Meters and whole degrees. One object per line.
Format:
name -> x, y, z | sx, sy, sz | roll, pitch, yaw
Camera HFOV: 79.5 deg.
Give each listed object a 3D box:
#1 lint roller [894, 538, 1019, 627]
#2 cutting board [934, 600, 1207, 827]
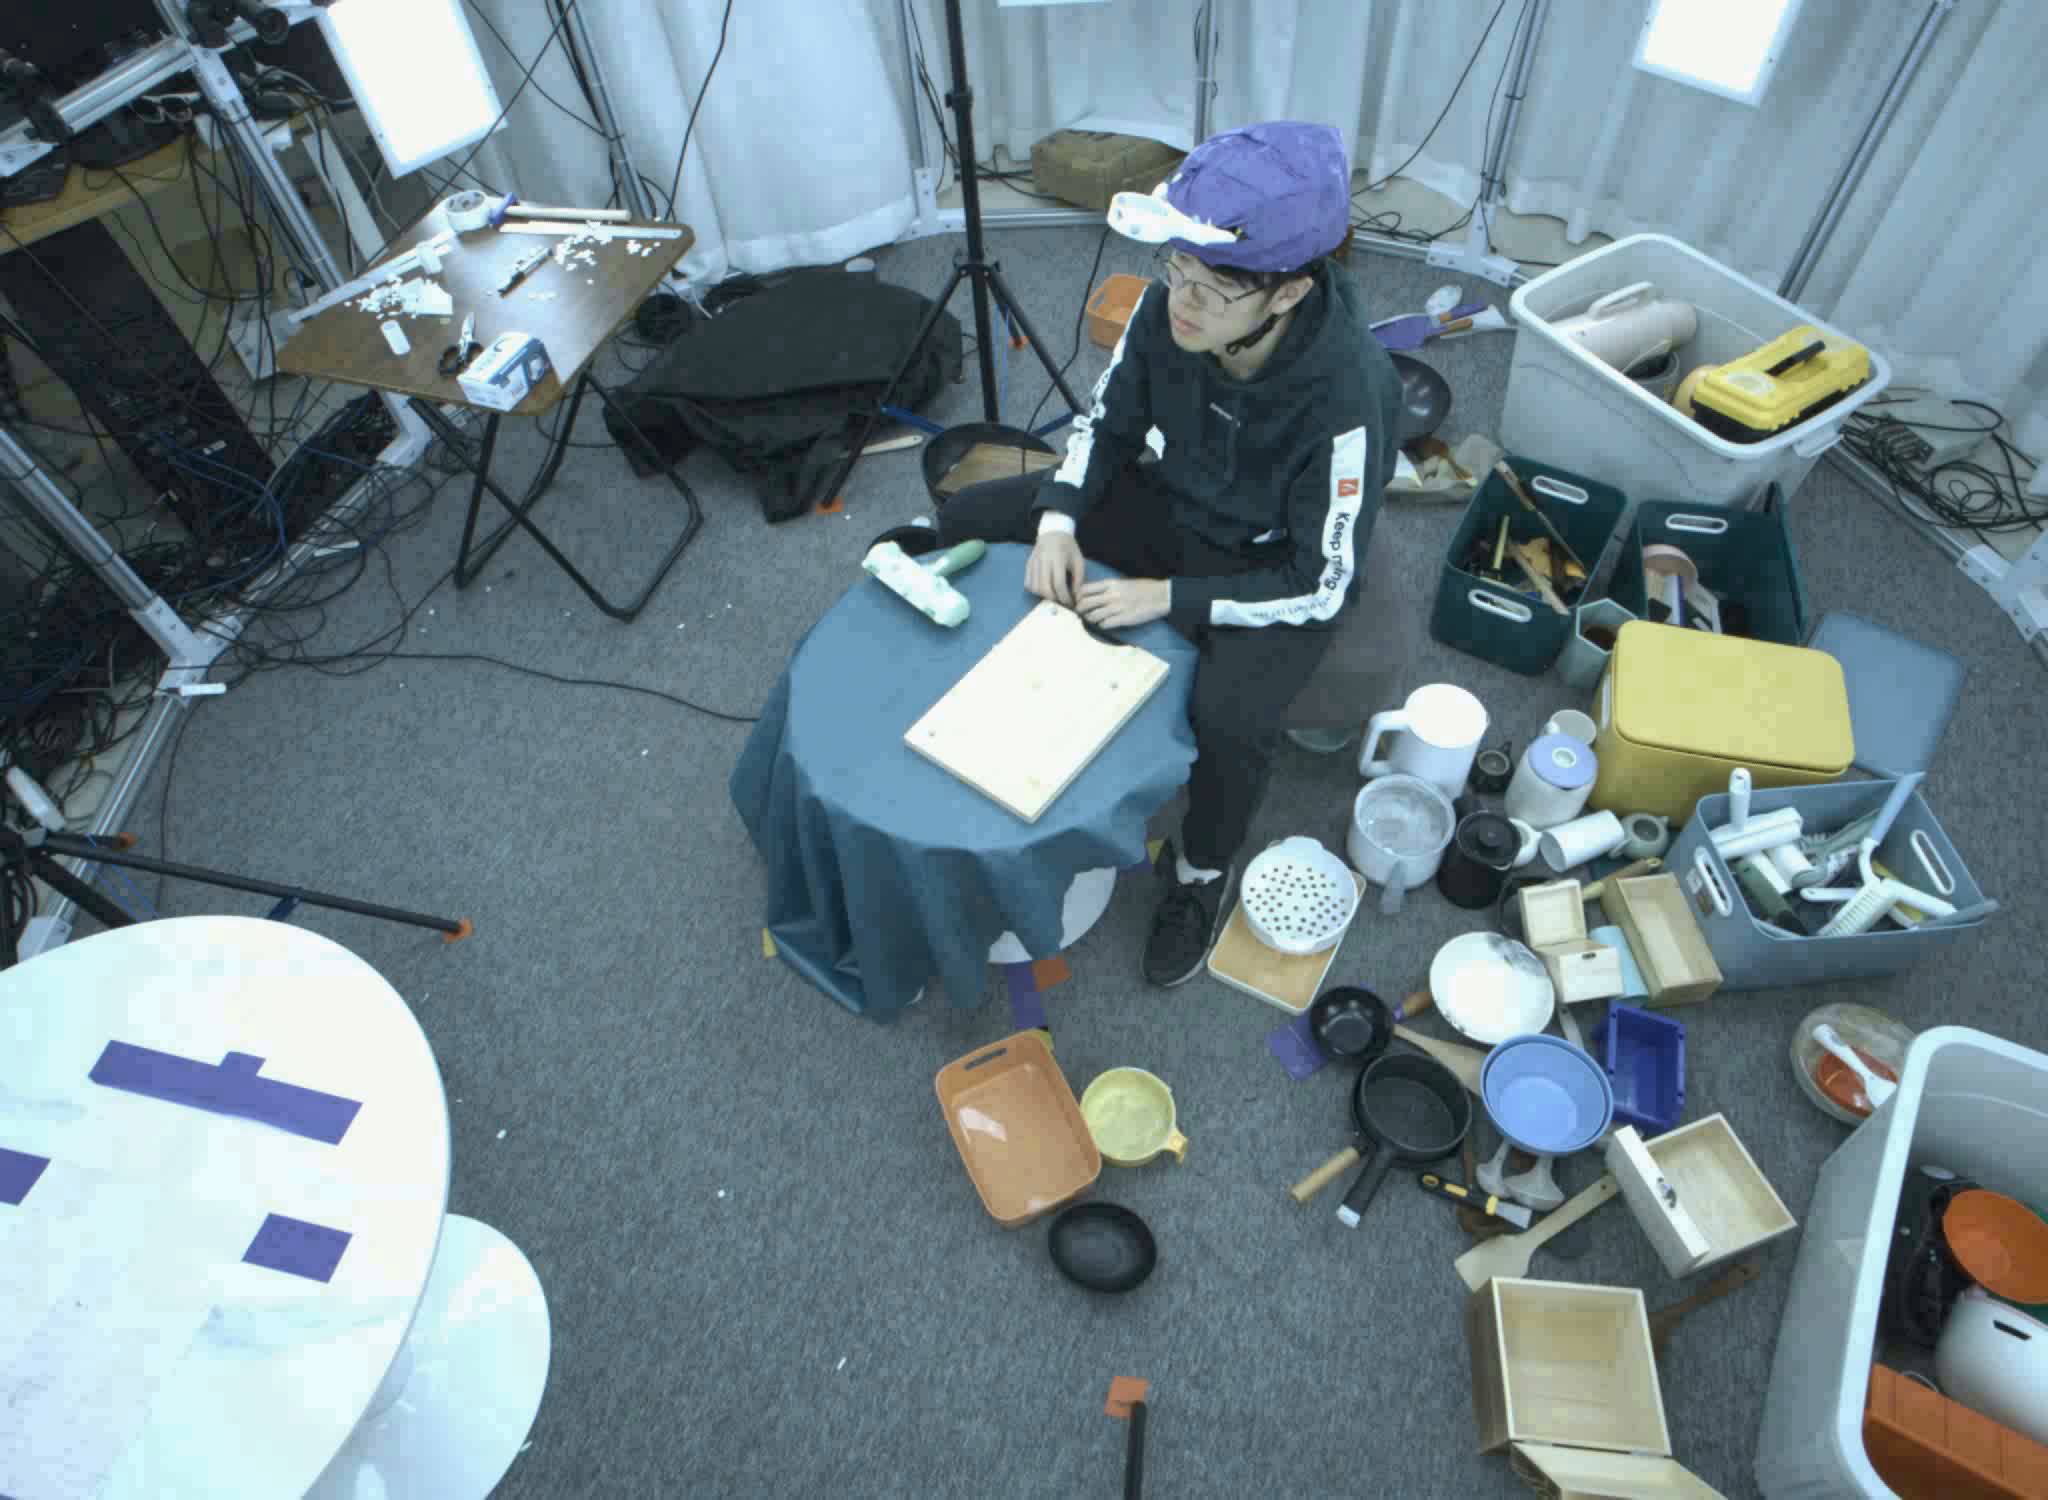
lint roller -> -0.081, -0.302, 1.953 | 0.184, 0.083, 0.195 | -41, 62, -18
cutting board -> 0.069, -0.064, 1.817 | 0.246, 0.024, 0.350 | 33, 62, 22
